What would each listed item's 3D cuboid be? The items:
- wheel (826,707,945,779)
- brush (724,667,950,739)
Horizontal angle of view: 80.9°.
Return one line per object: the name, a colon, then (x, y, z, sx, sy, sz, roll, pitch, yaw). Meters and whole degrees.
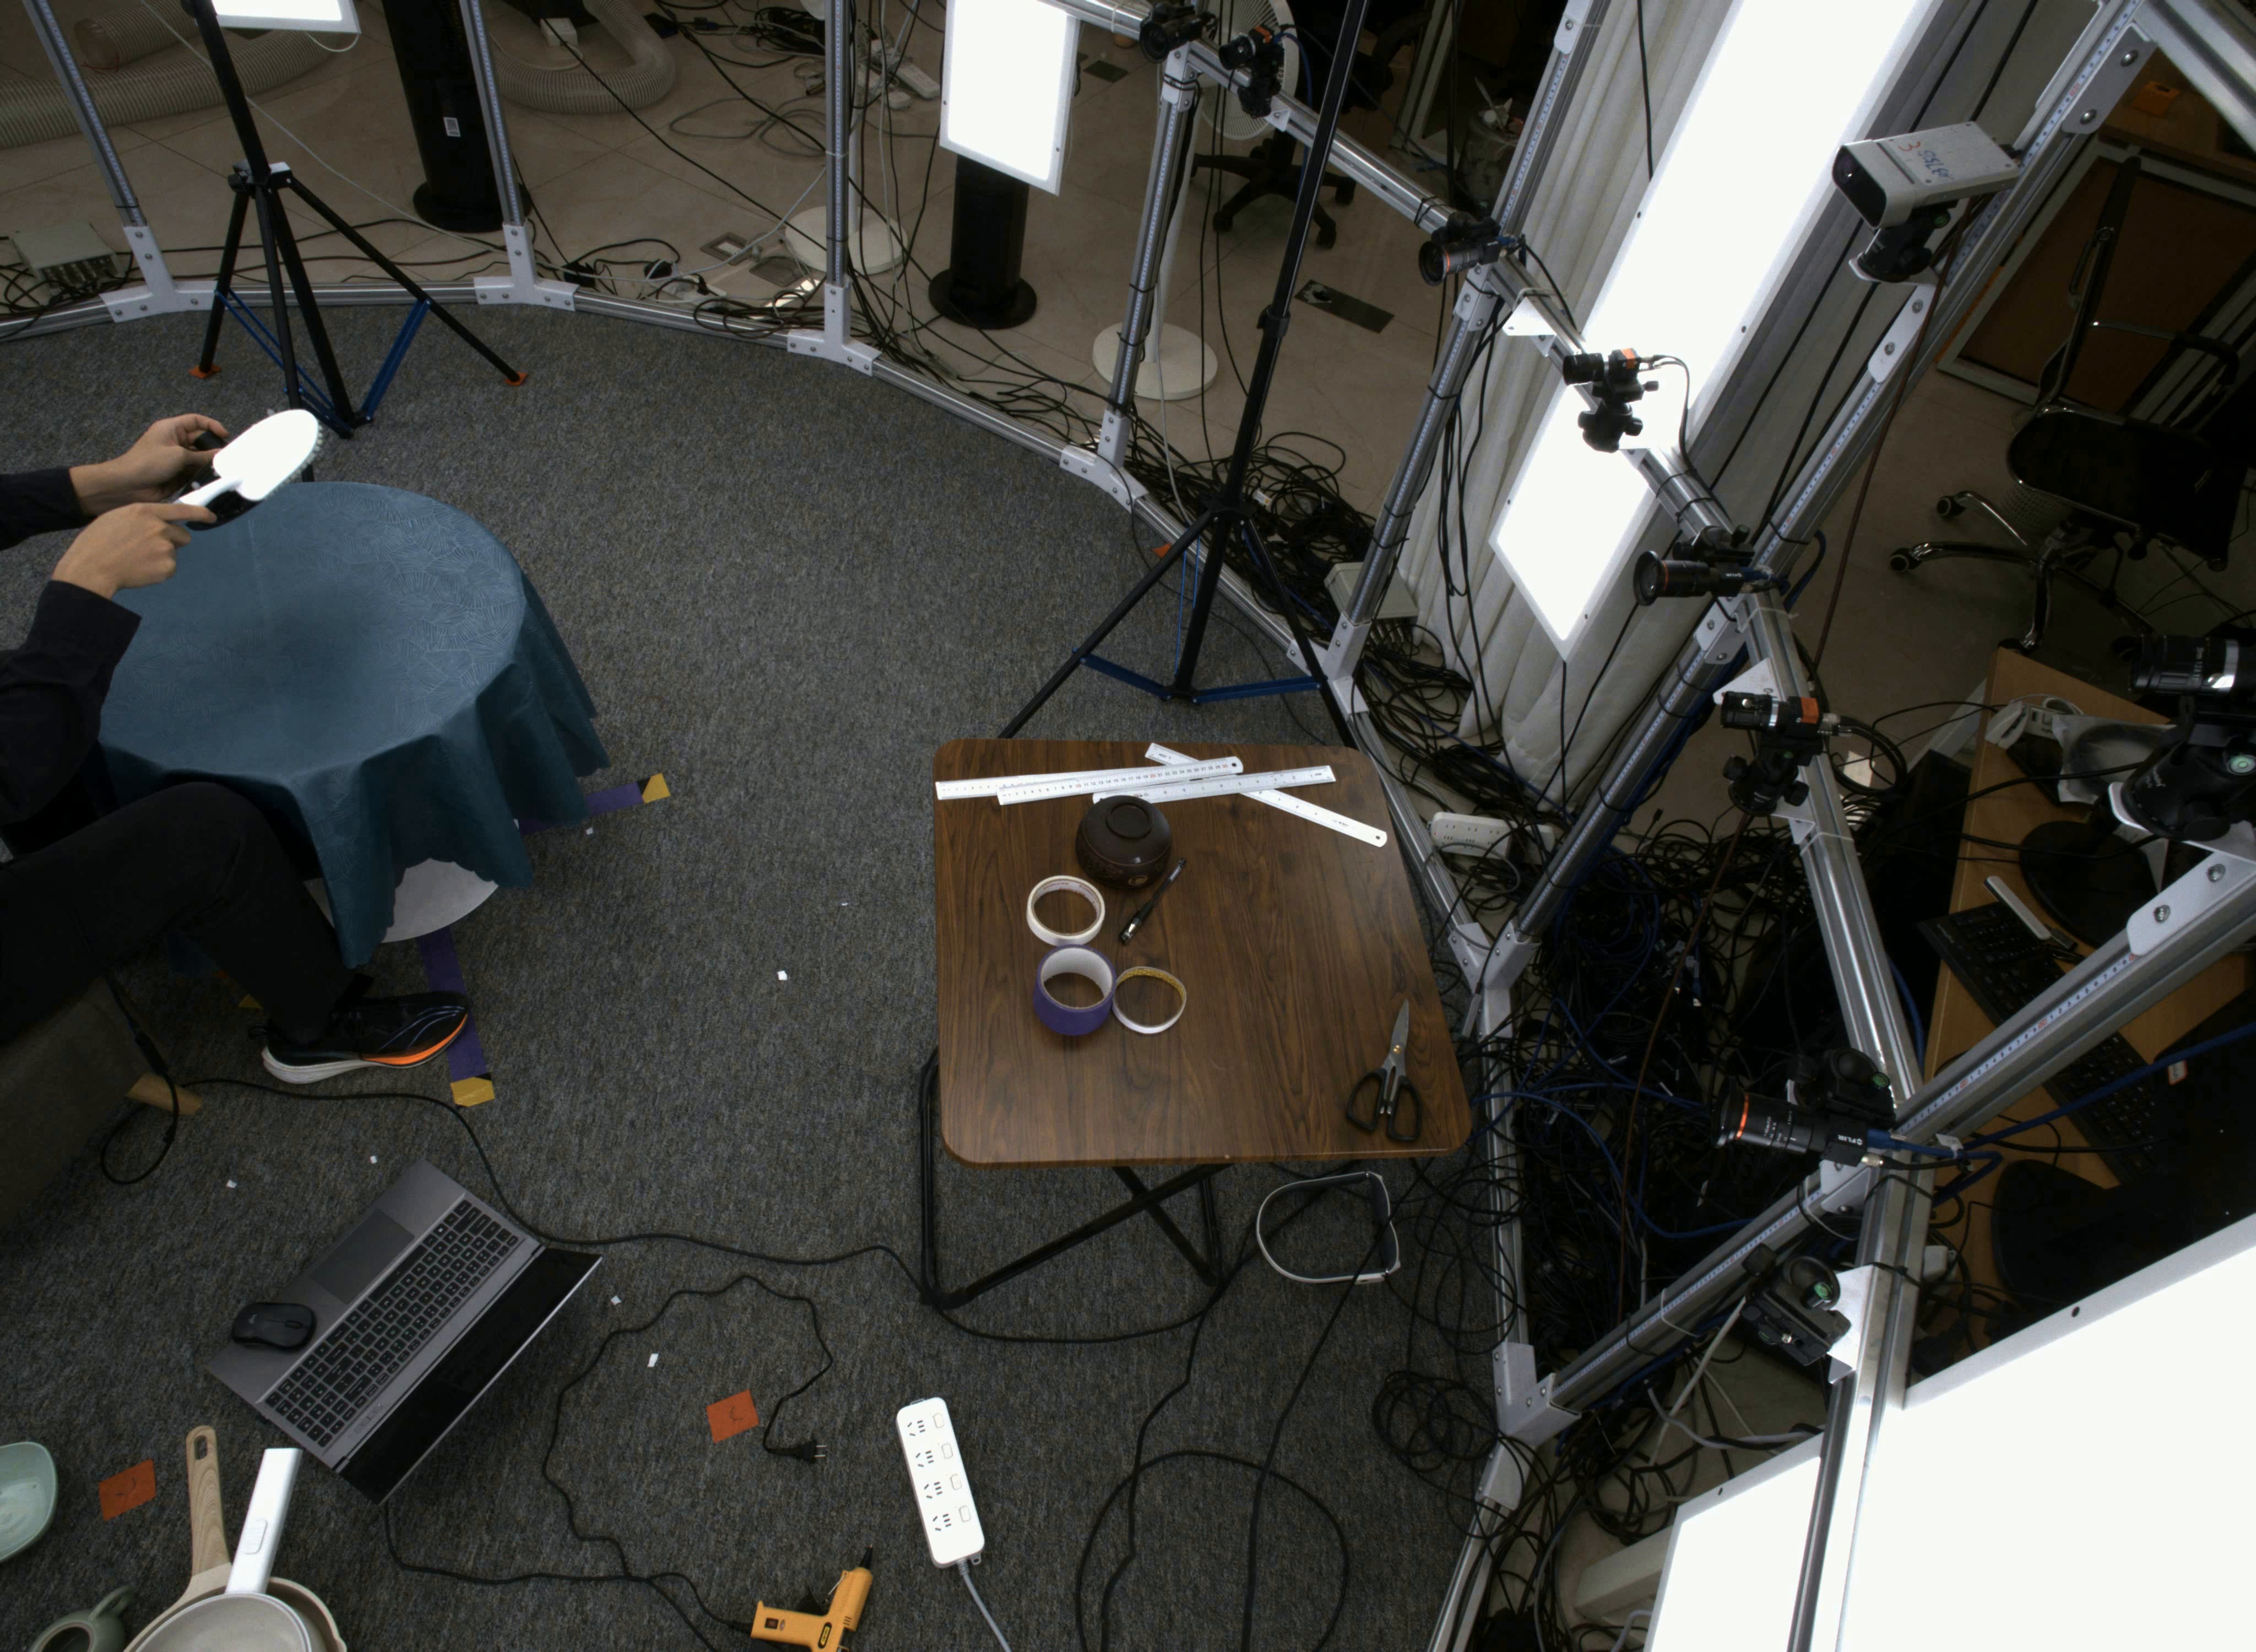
wheel: (-0.378, -0.153, 1.989, 0.195, 0.186, 0.077, 12, 46, -55)
brush: (-0.408, -0.161, 1.832, 0.326, 0.087, 0.080, -17, 34, -20)
